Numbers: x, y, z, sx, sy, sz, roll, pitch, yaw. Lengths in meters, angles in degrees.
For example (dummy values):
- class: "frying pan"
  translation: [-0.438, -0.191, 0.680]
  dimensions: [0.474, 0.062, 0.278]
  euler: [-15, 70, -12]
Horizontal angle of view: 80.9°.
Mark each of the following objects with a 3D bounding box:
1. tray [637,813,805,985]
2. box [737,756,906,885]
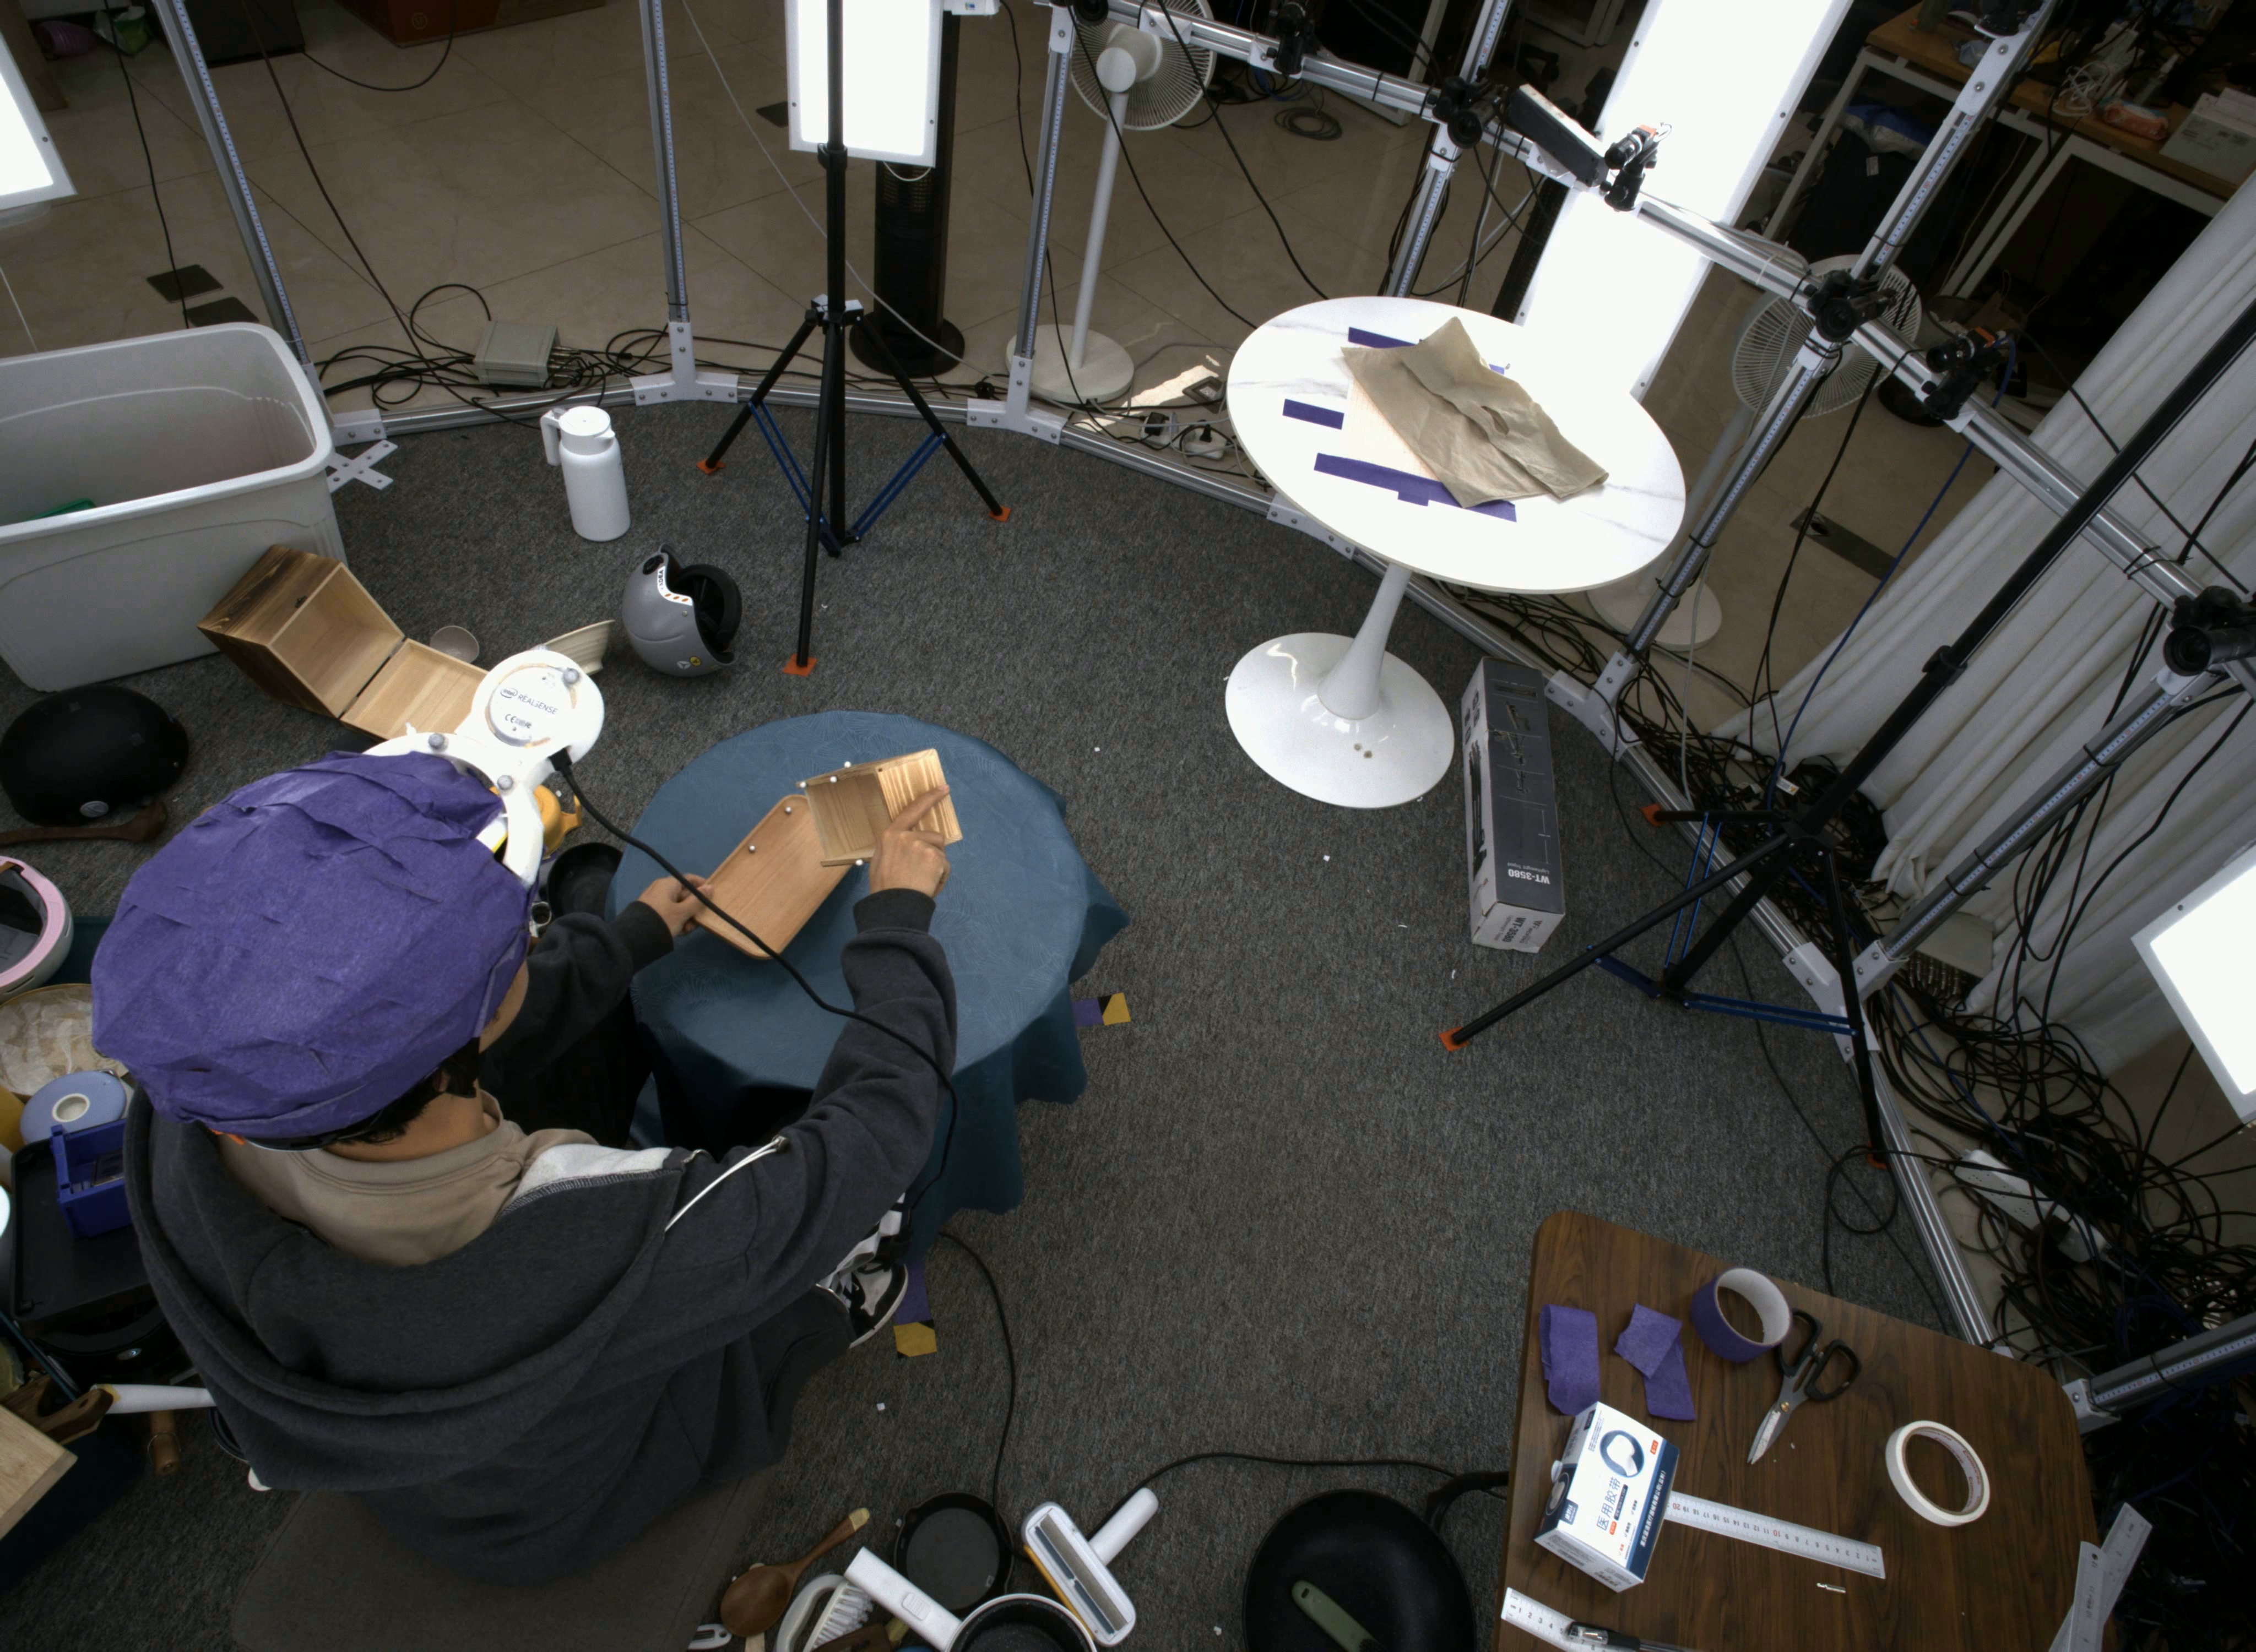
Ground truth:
- class: "tray"
  translation: [-0.489, 0.084, 1.584]
  dimensions: [0.130, 0.023, 0.248]
  euler: [27, 45, -1]
- class: "box"
  translation: [-0.347, -0.004, 1.456]
  dimensions: [0.081, 0.205, 0.110]
  euler: [-26, 101, -38]
